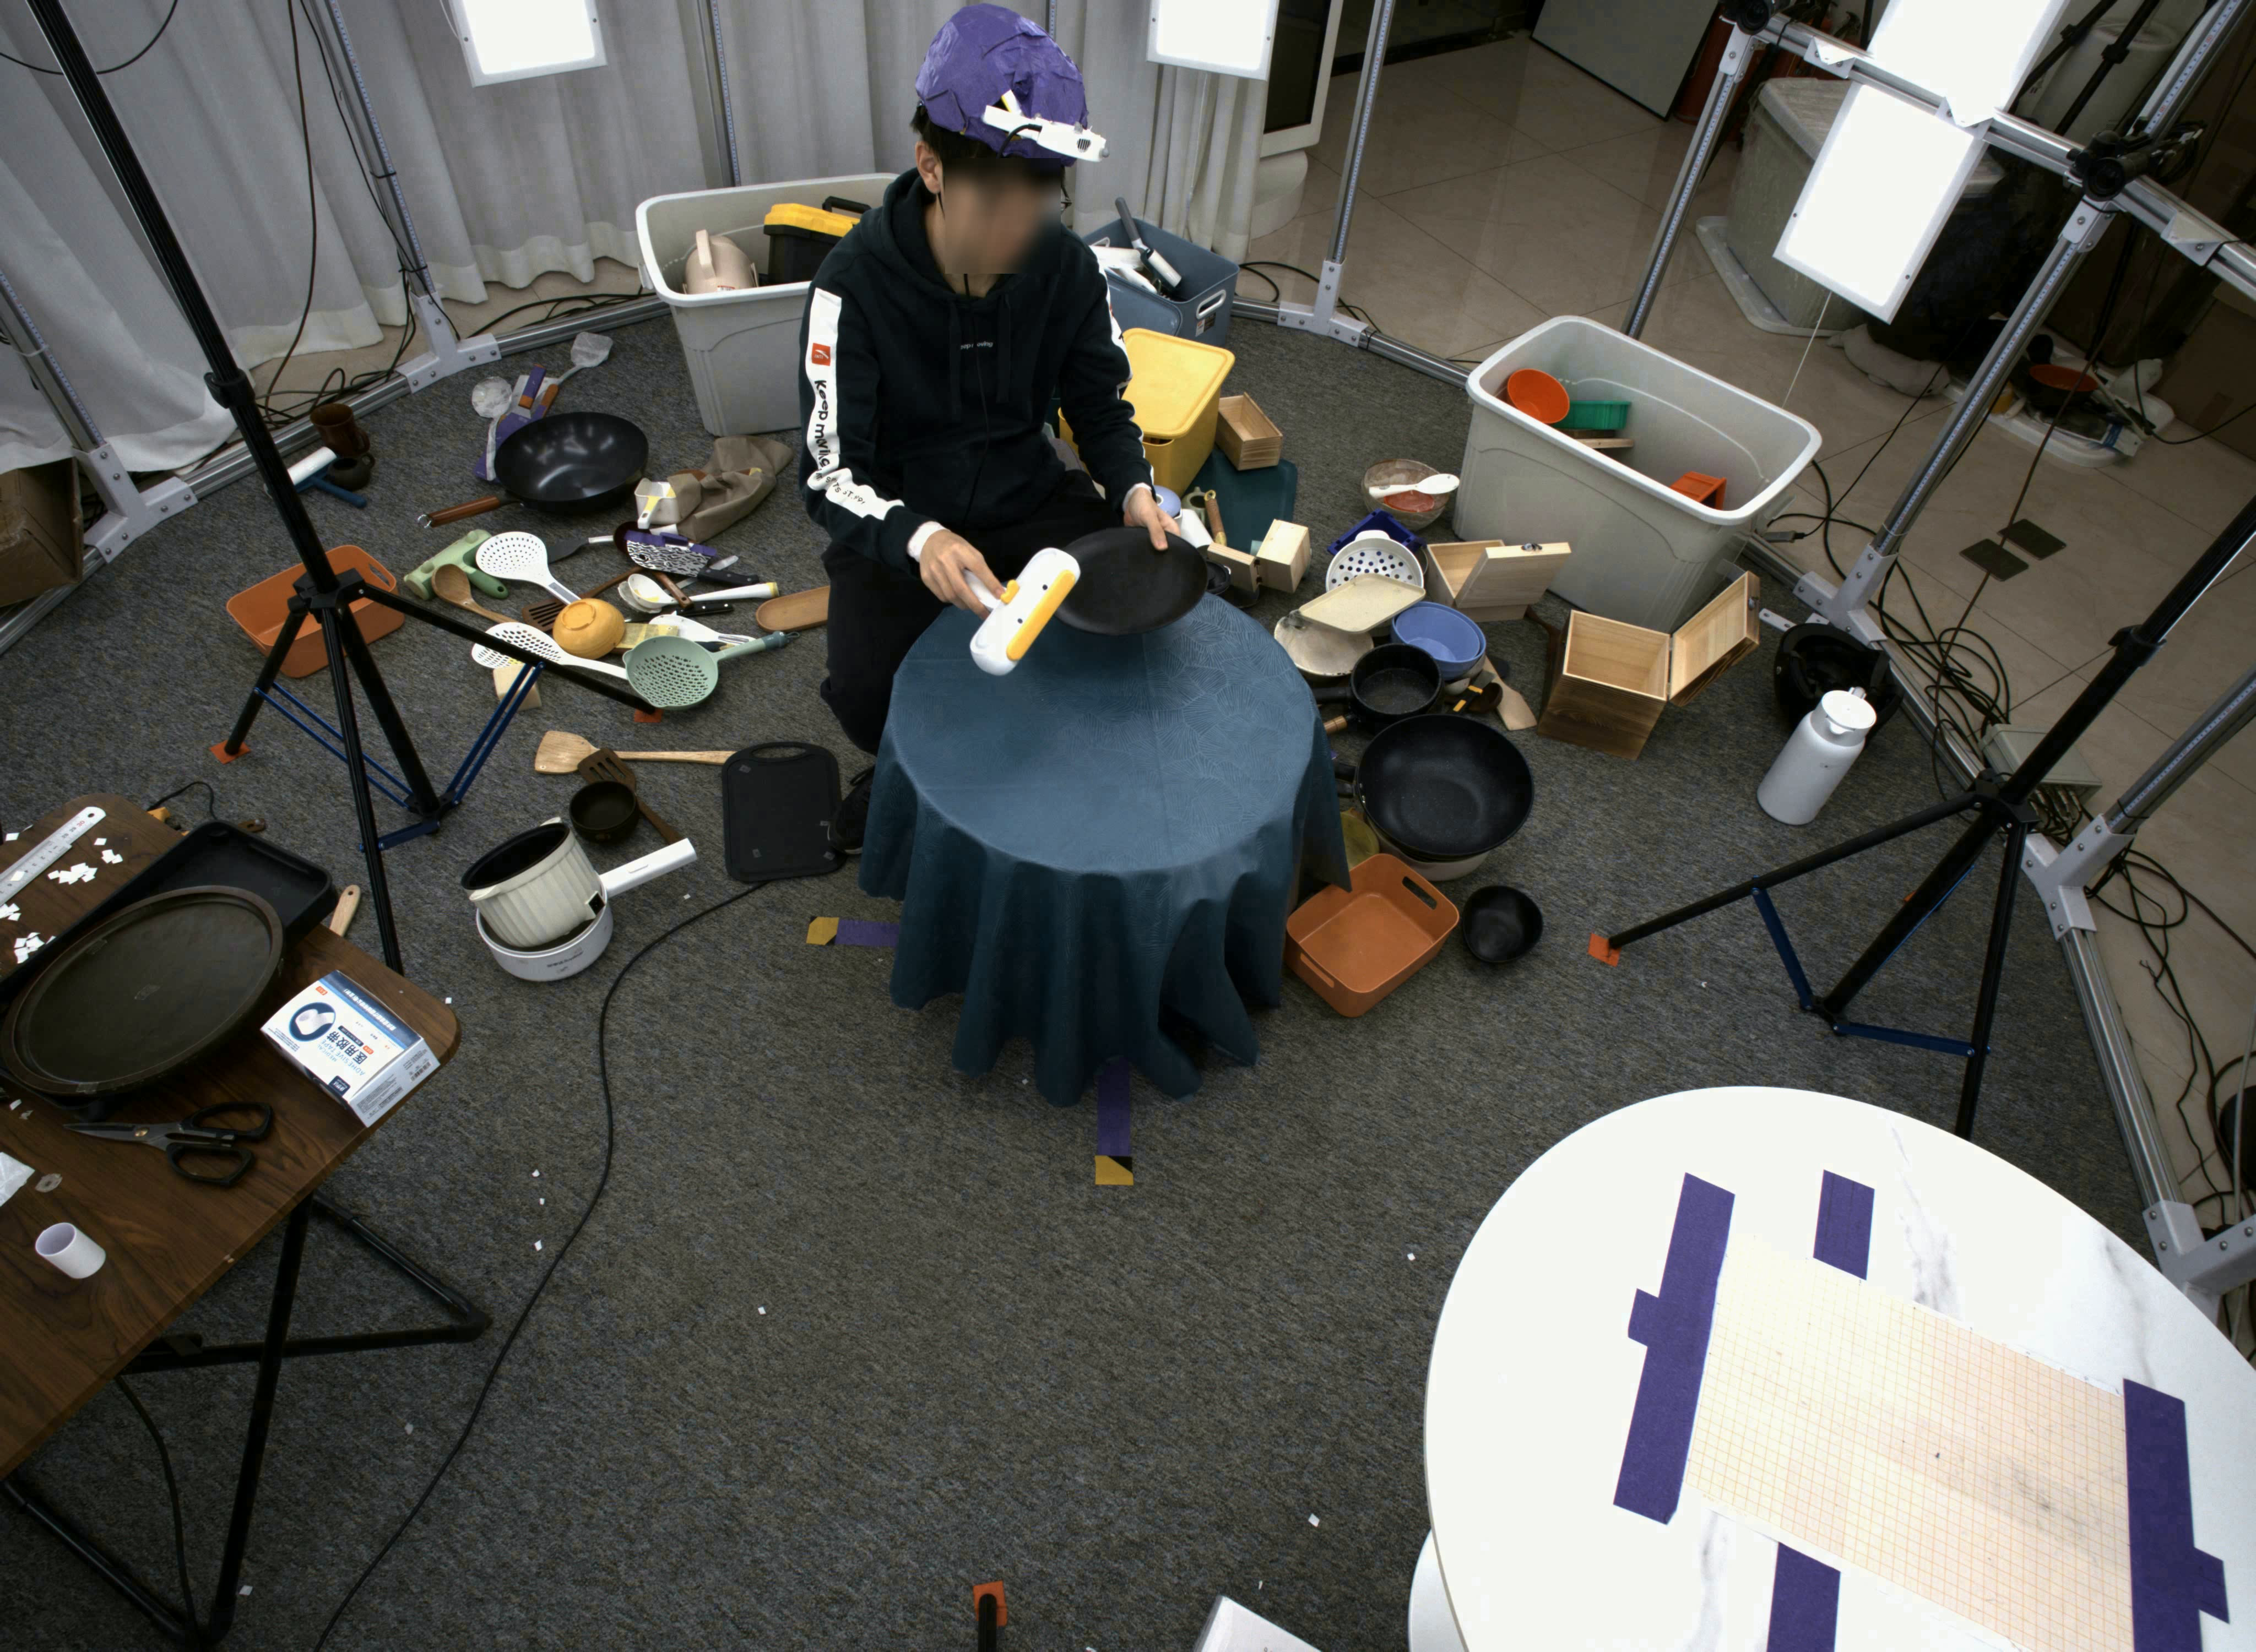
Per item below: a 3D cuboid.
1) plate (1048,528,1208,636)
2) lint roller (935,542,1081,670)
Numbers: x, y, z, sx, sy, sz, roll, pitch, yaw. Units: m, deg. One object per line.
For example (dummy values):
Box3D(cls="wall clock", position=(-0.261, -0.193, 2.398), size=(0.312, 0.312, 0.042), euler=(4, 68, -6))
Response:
Box3D(cls="plate", position=(-0.005, -0.349, 1.855), size=(0.244, 0.023, 0.250), euler=(-4, 47, 4))
Box3D(cls="lint roller", position=(-0.178, -0.308, 1.723), size=(0.194, 0.072, 0.194), euler=(18, 72, 40))
